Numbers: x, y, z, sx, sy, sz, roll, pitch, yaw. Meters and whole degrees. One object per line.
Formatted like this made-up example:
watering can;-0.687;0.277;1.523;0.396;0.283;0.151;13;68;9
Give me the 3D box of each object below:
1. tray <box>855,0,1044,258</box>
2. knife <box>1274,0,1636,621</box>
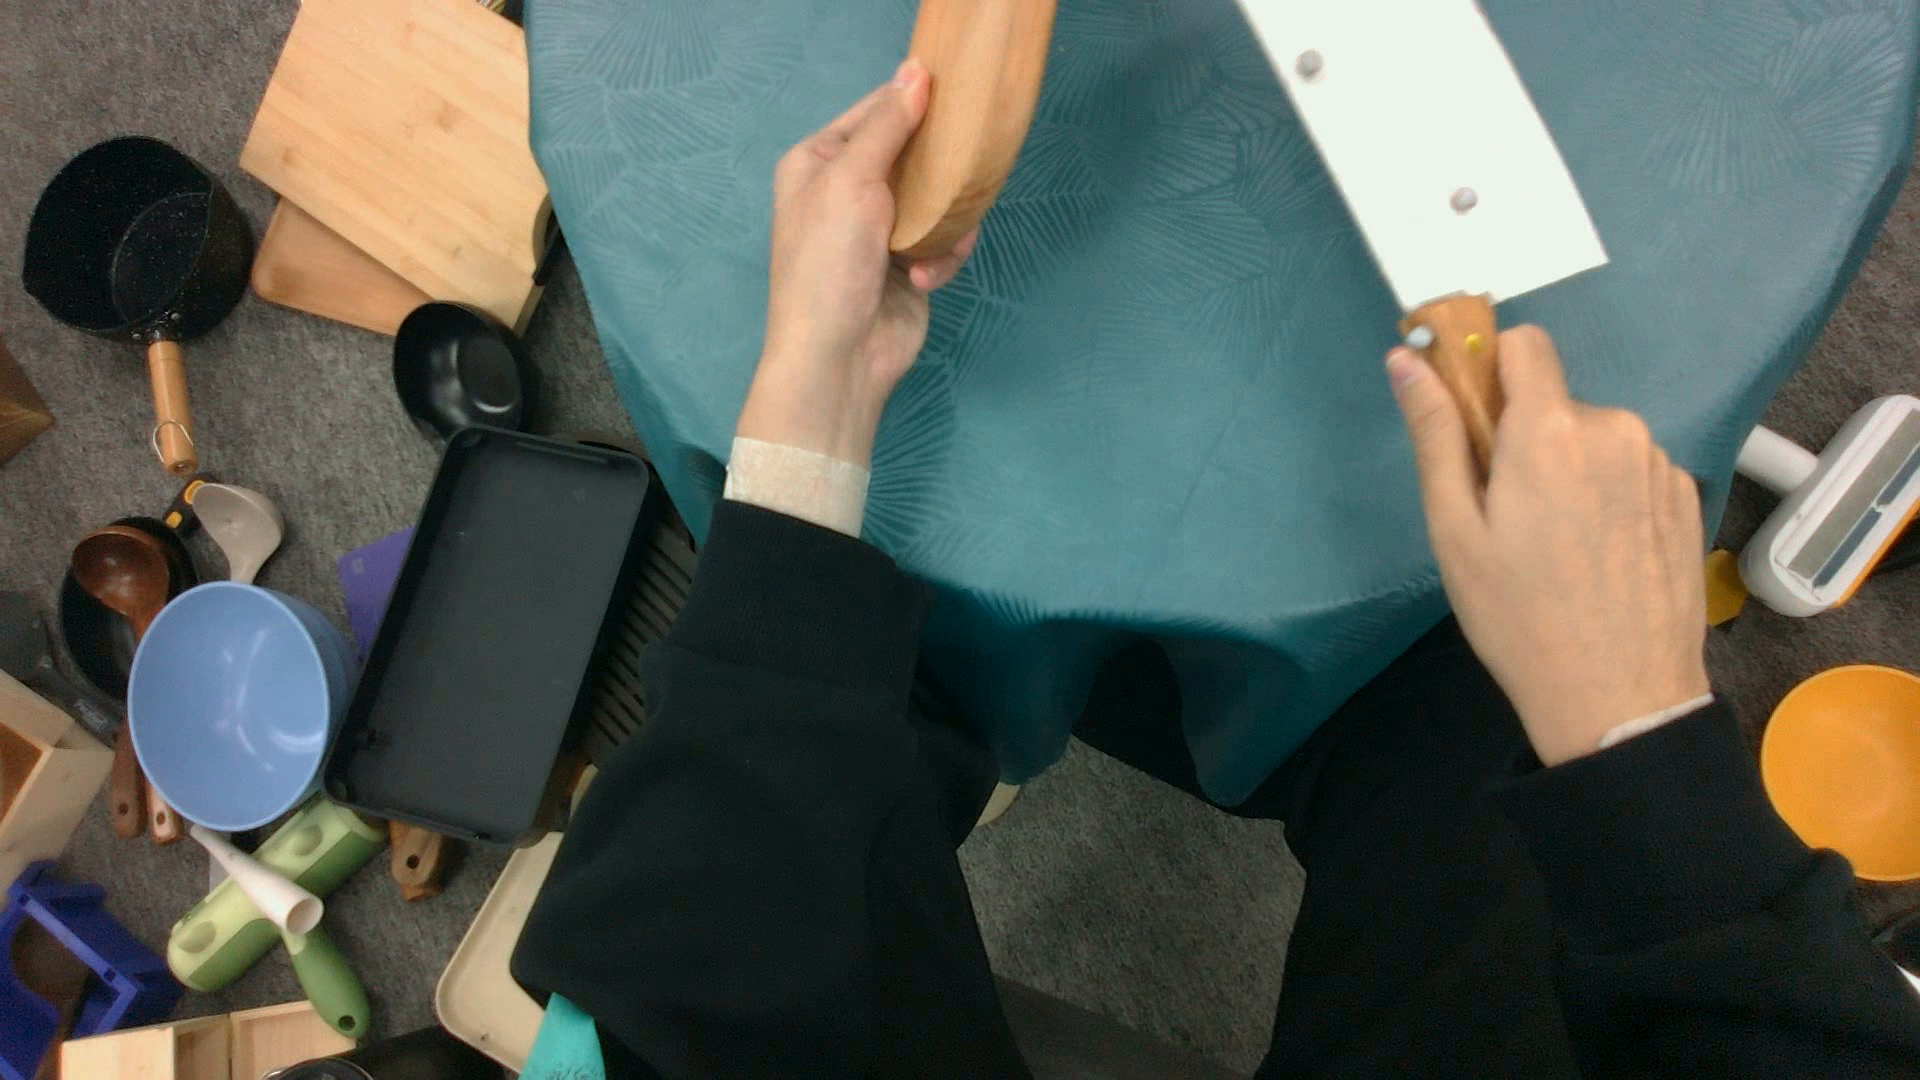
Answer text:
tray;0.004;-0.214;0.524;0.020;0.101;0.232;17;73;-29
knife;0.179;-0.125;0.488;0.093;0.021;0.306;-20;83;-20
